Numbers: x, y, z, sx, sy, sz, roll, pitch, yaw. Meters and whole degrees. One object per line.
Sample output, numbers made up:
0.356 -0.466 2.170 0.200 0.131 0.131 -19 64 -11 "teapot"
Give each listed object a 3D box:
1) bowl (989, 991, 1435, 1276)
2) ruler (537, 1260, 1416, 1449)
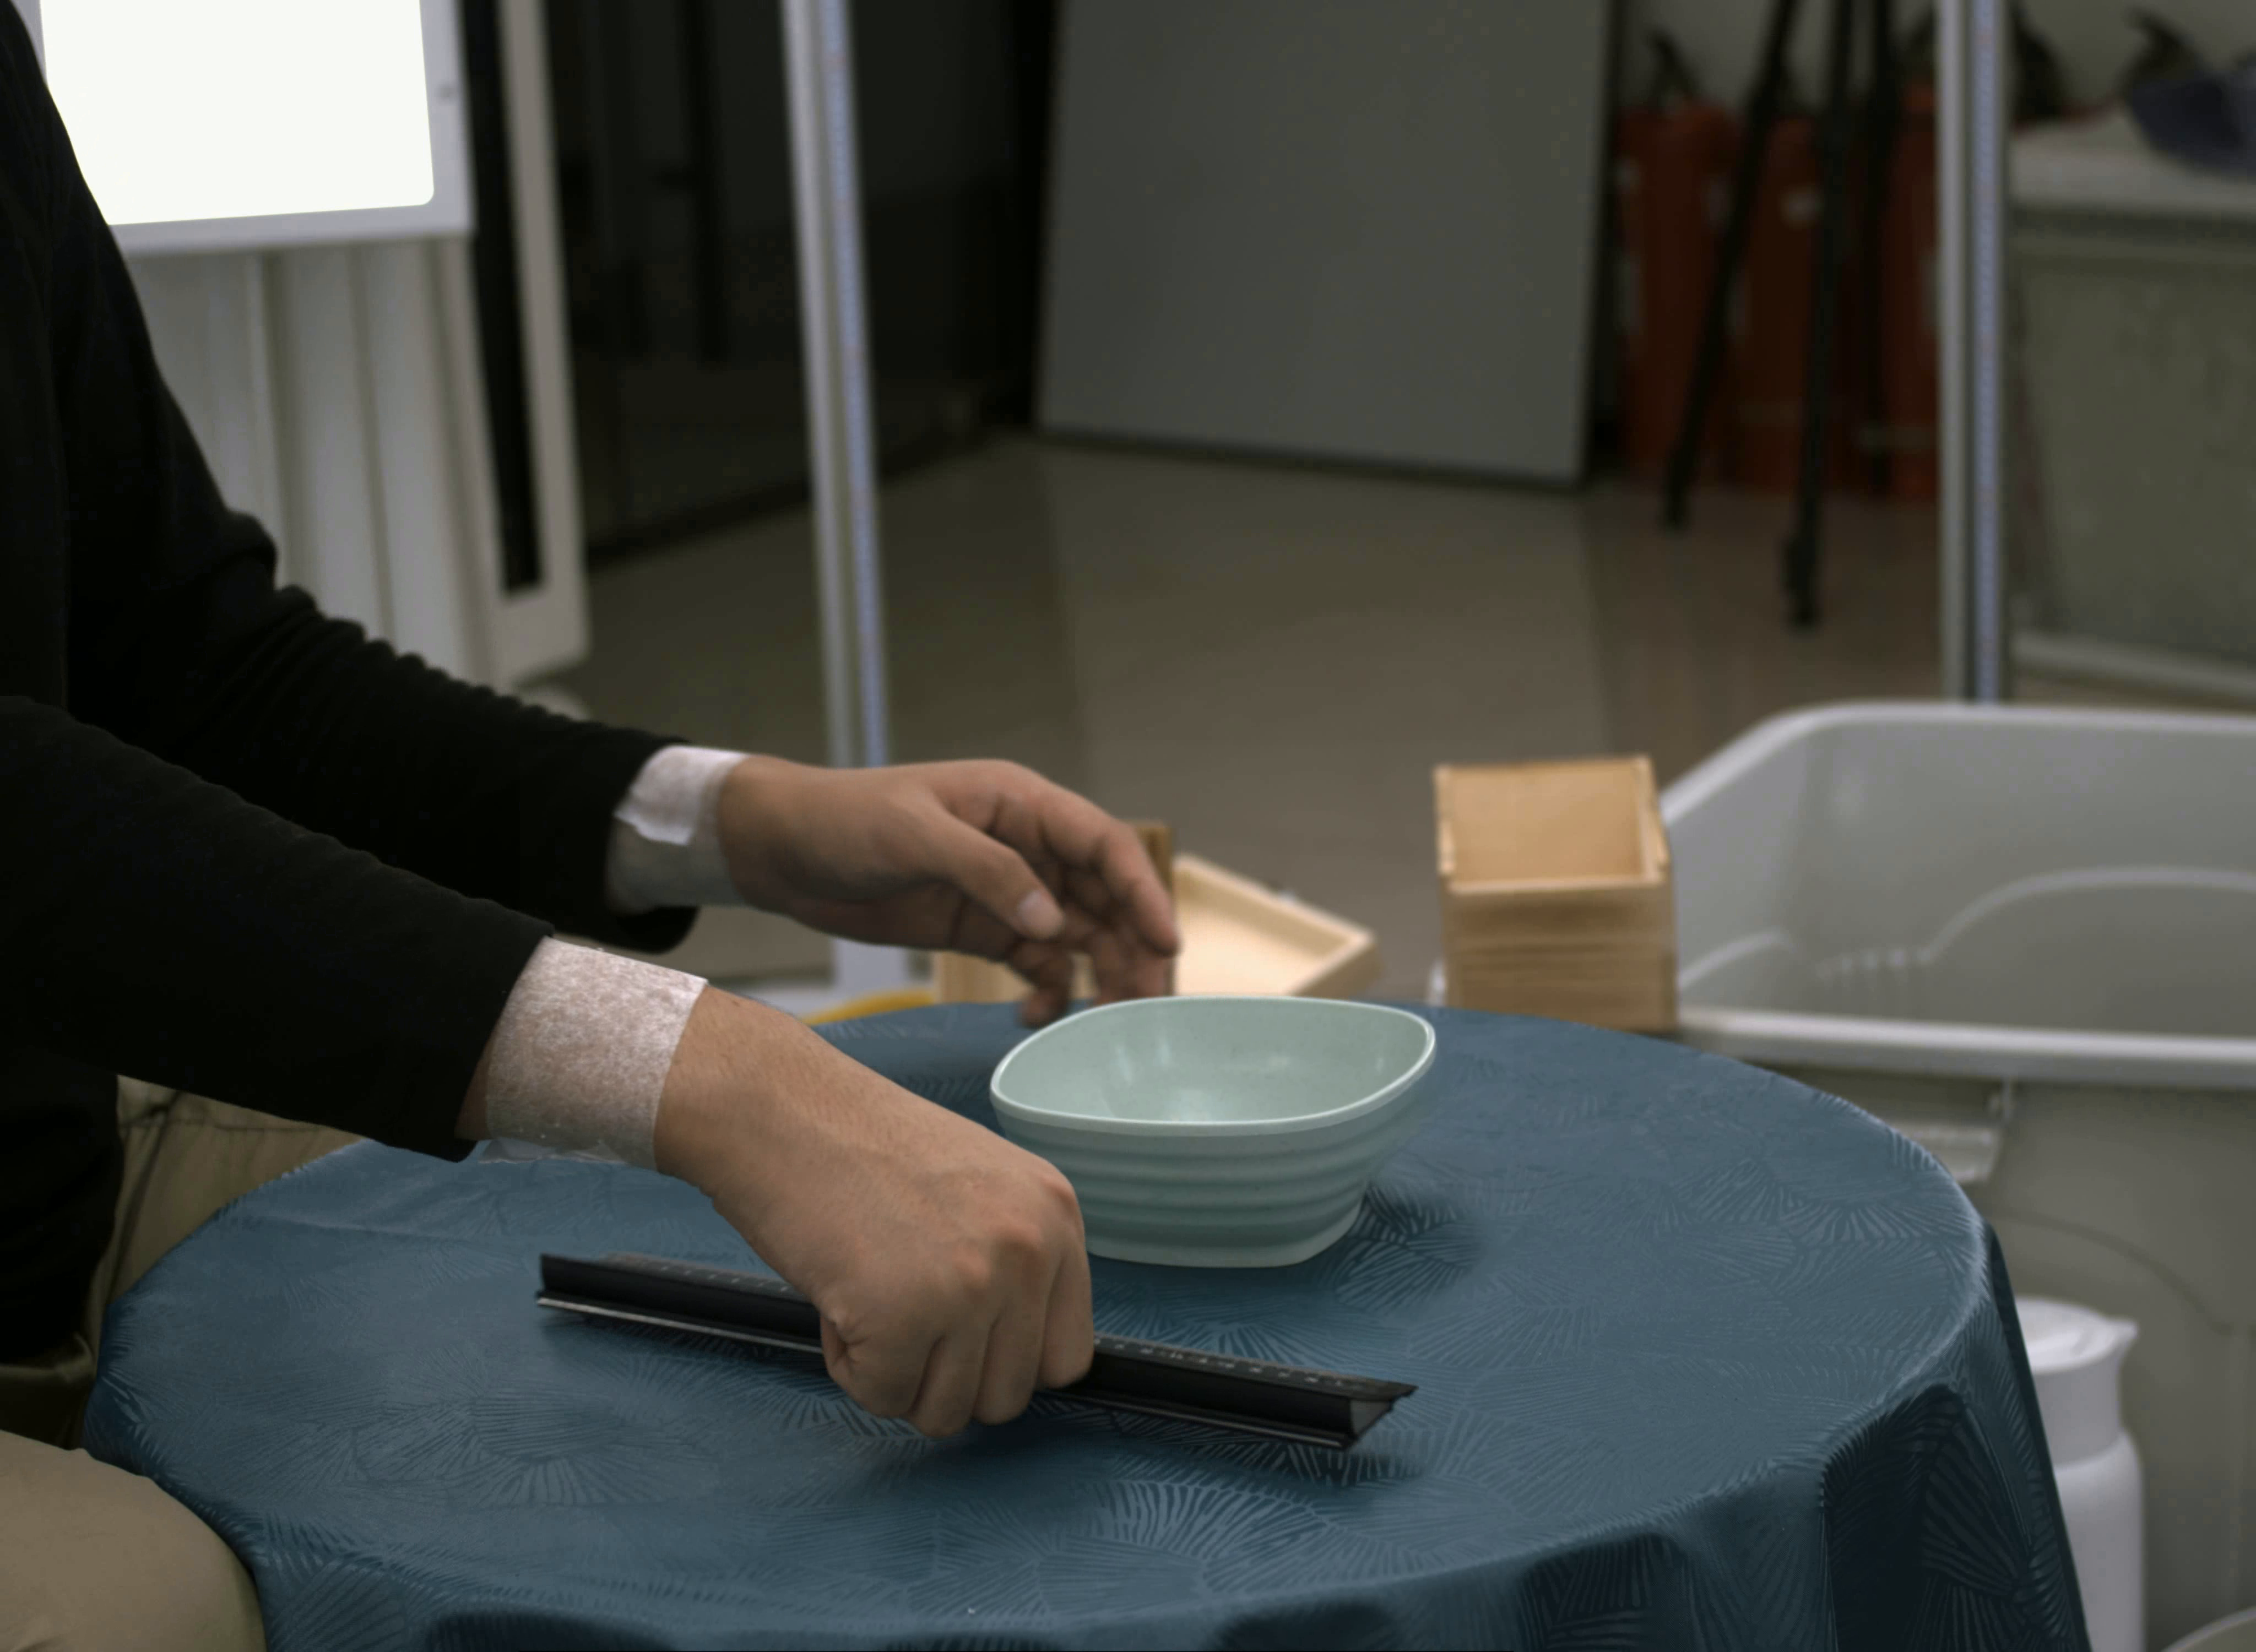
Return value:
0.028 0.101 1.724 0.149 0.059 0.152 -3 15 0 "bowl"
-0.051 0.149 1.598 0.315 0.017 0.038 5 23 38 "ruler"
